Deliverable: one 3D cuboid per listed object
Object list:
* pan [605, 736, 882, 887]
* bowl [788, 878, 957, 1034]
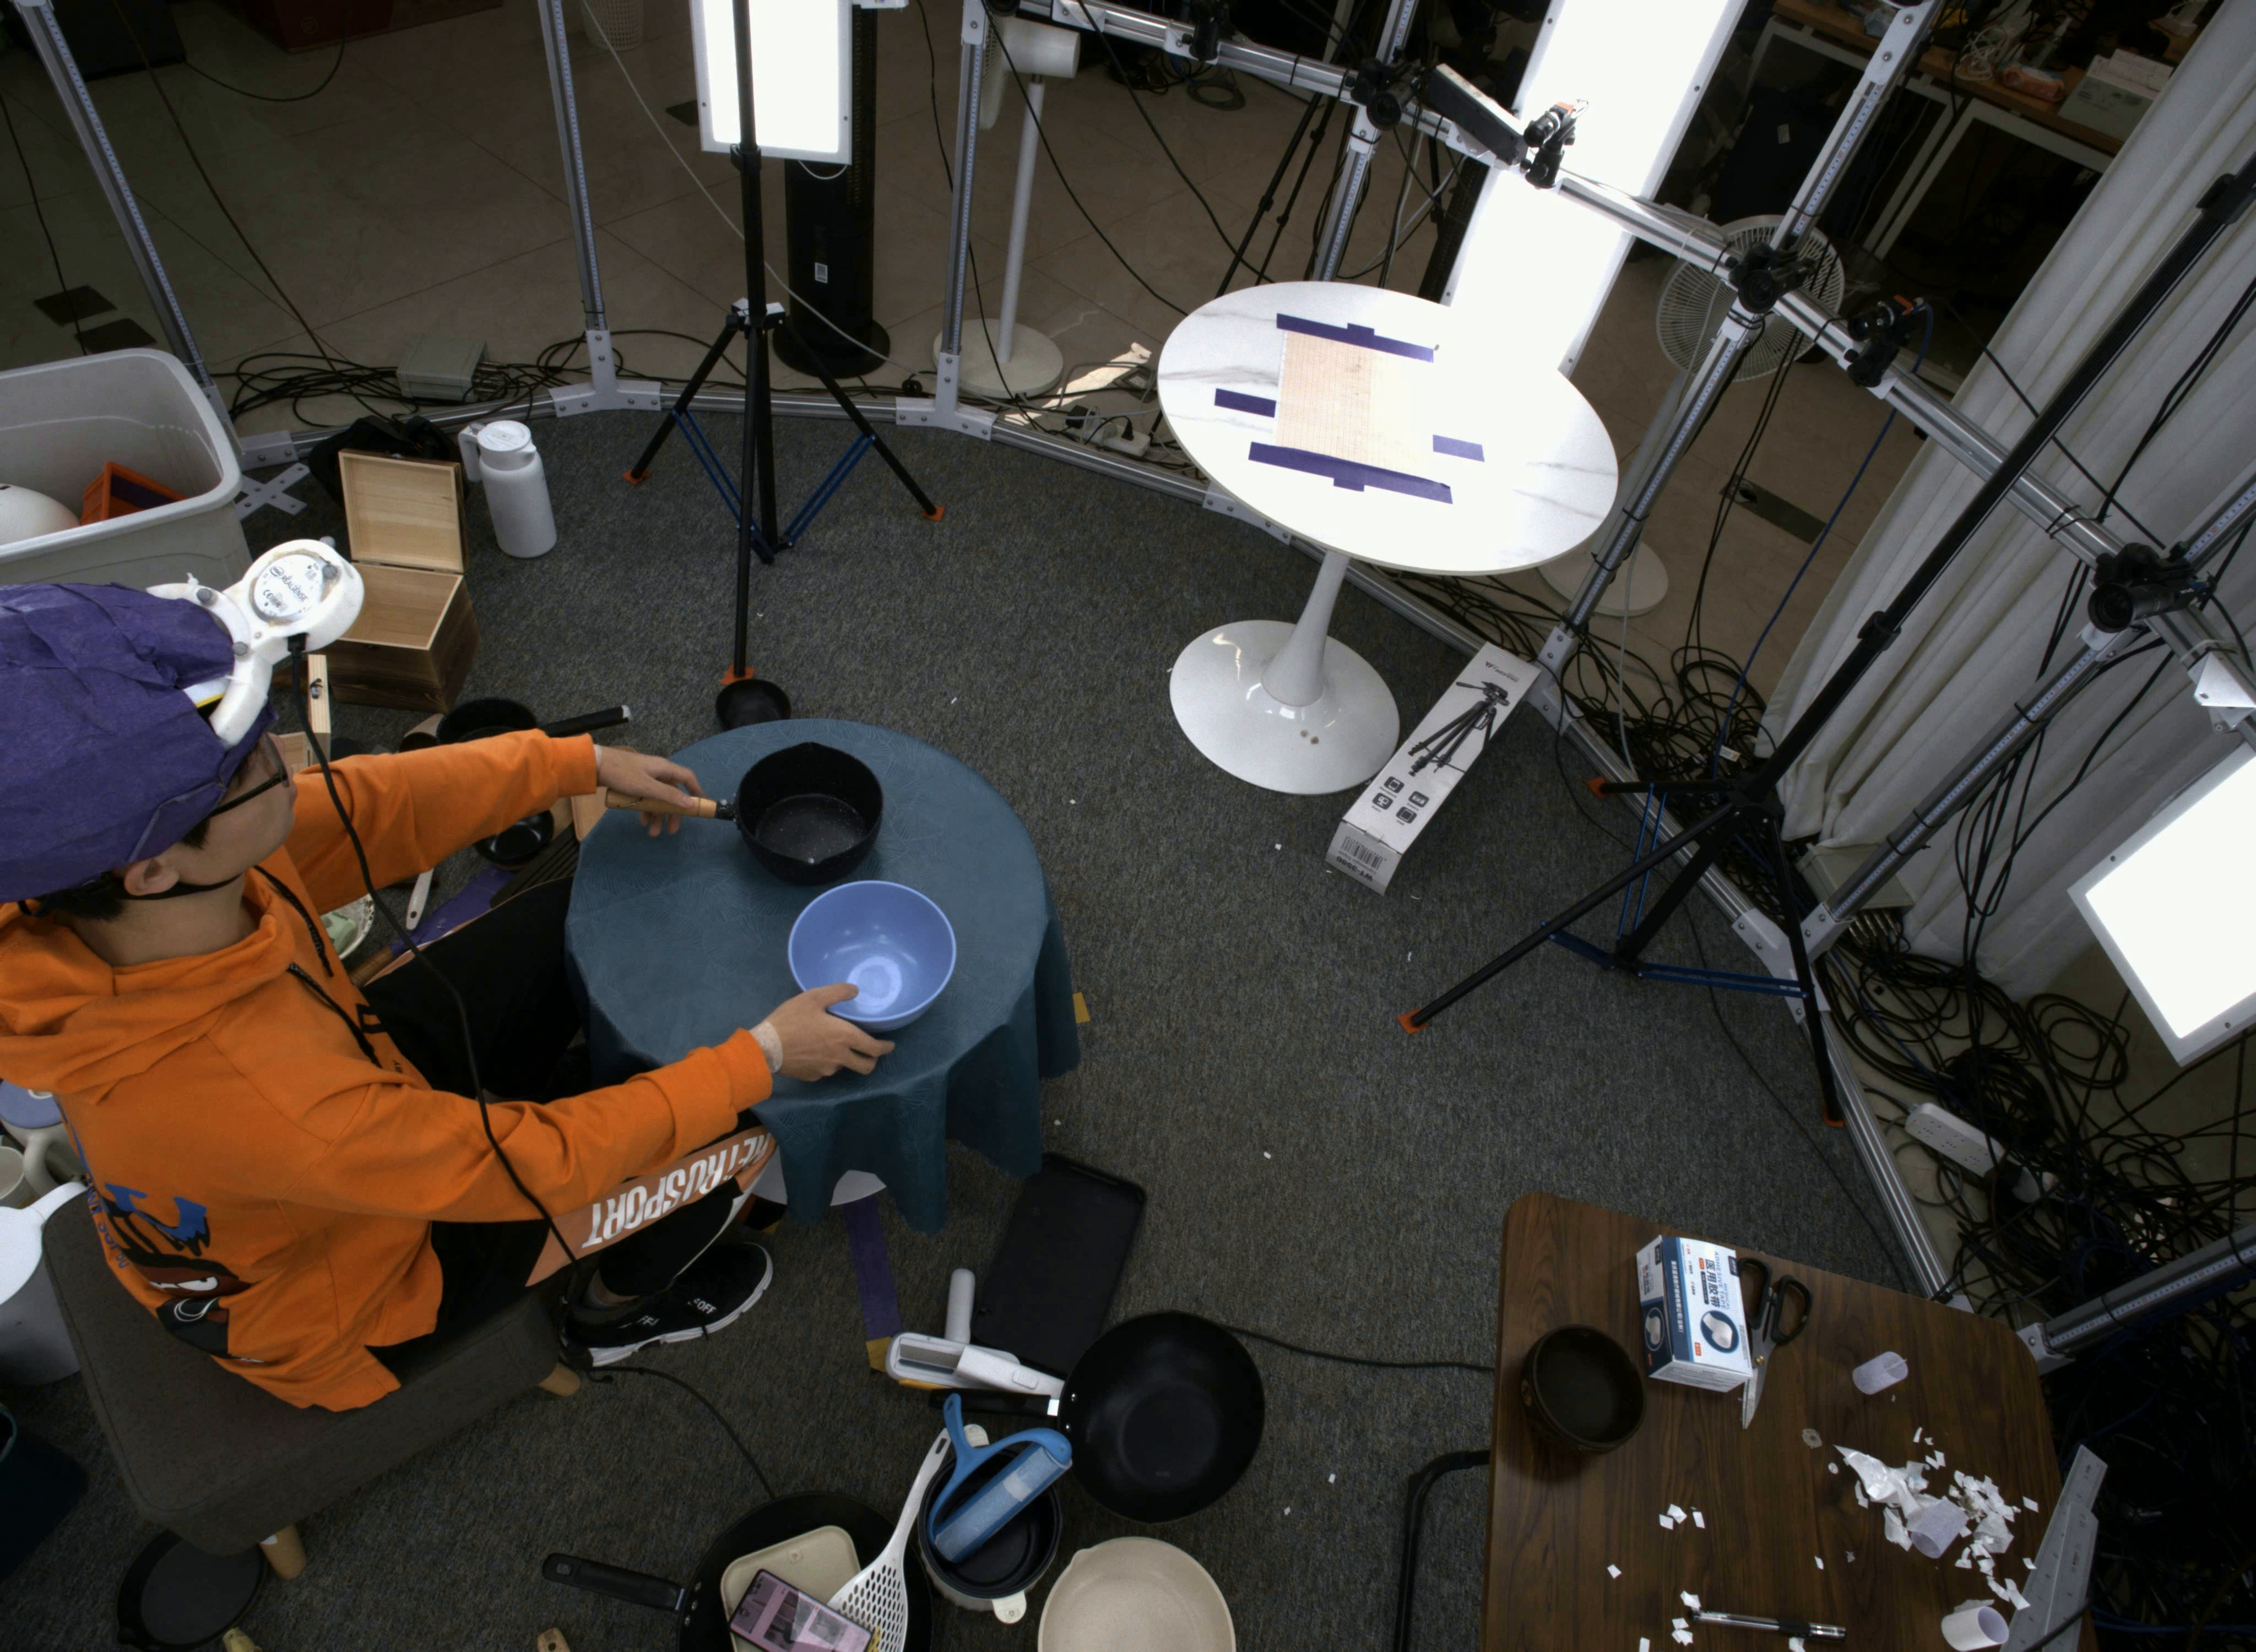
[{"bbox_3d":[-0.485,-0.013,1.637,0.344,0.110,0.203,-2,55,-18],"label":"pan"},{"bbox_3d":[-0.306,0.169,1.556,0.196,0.097,0.193,9,52,-10],"label":"bowl"}]
